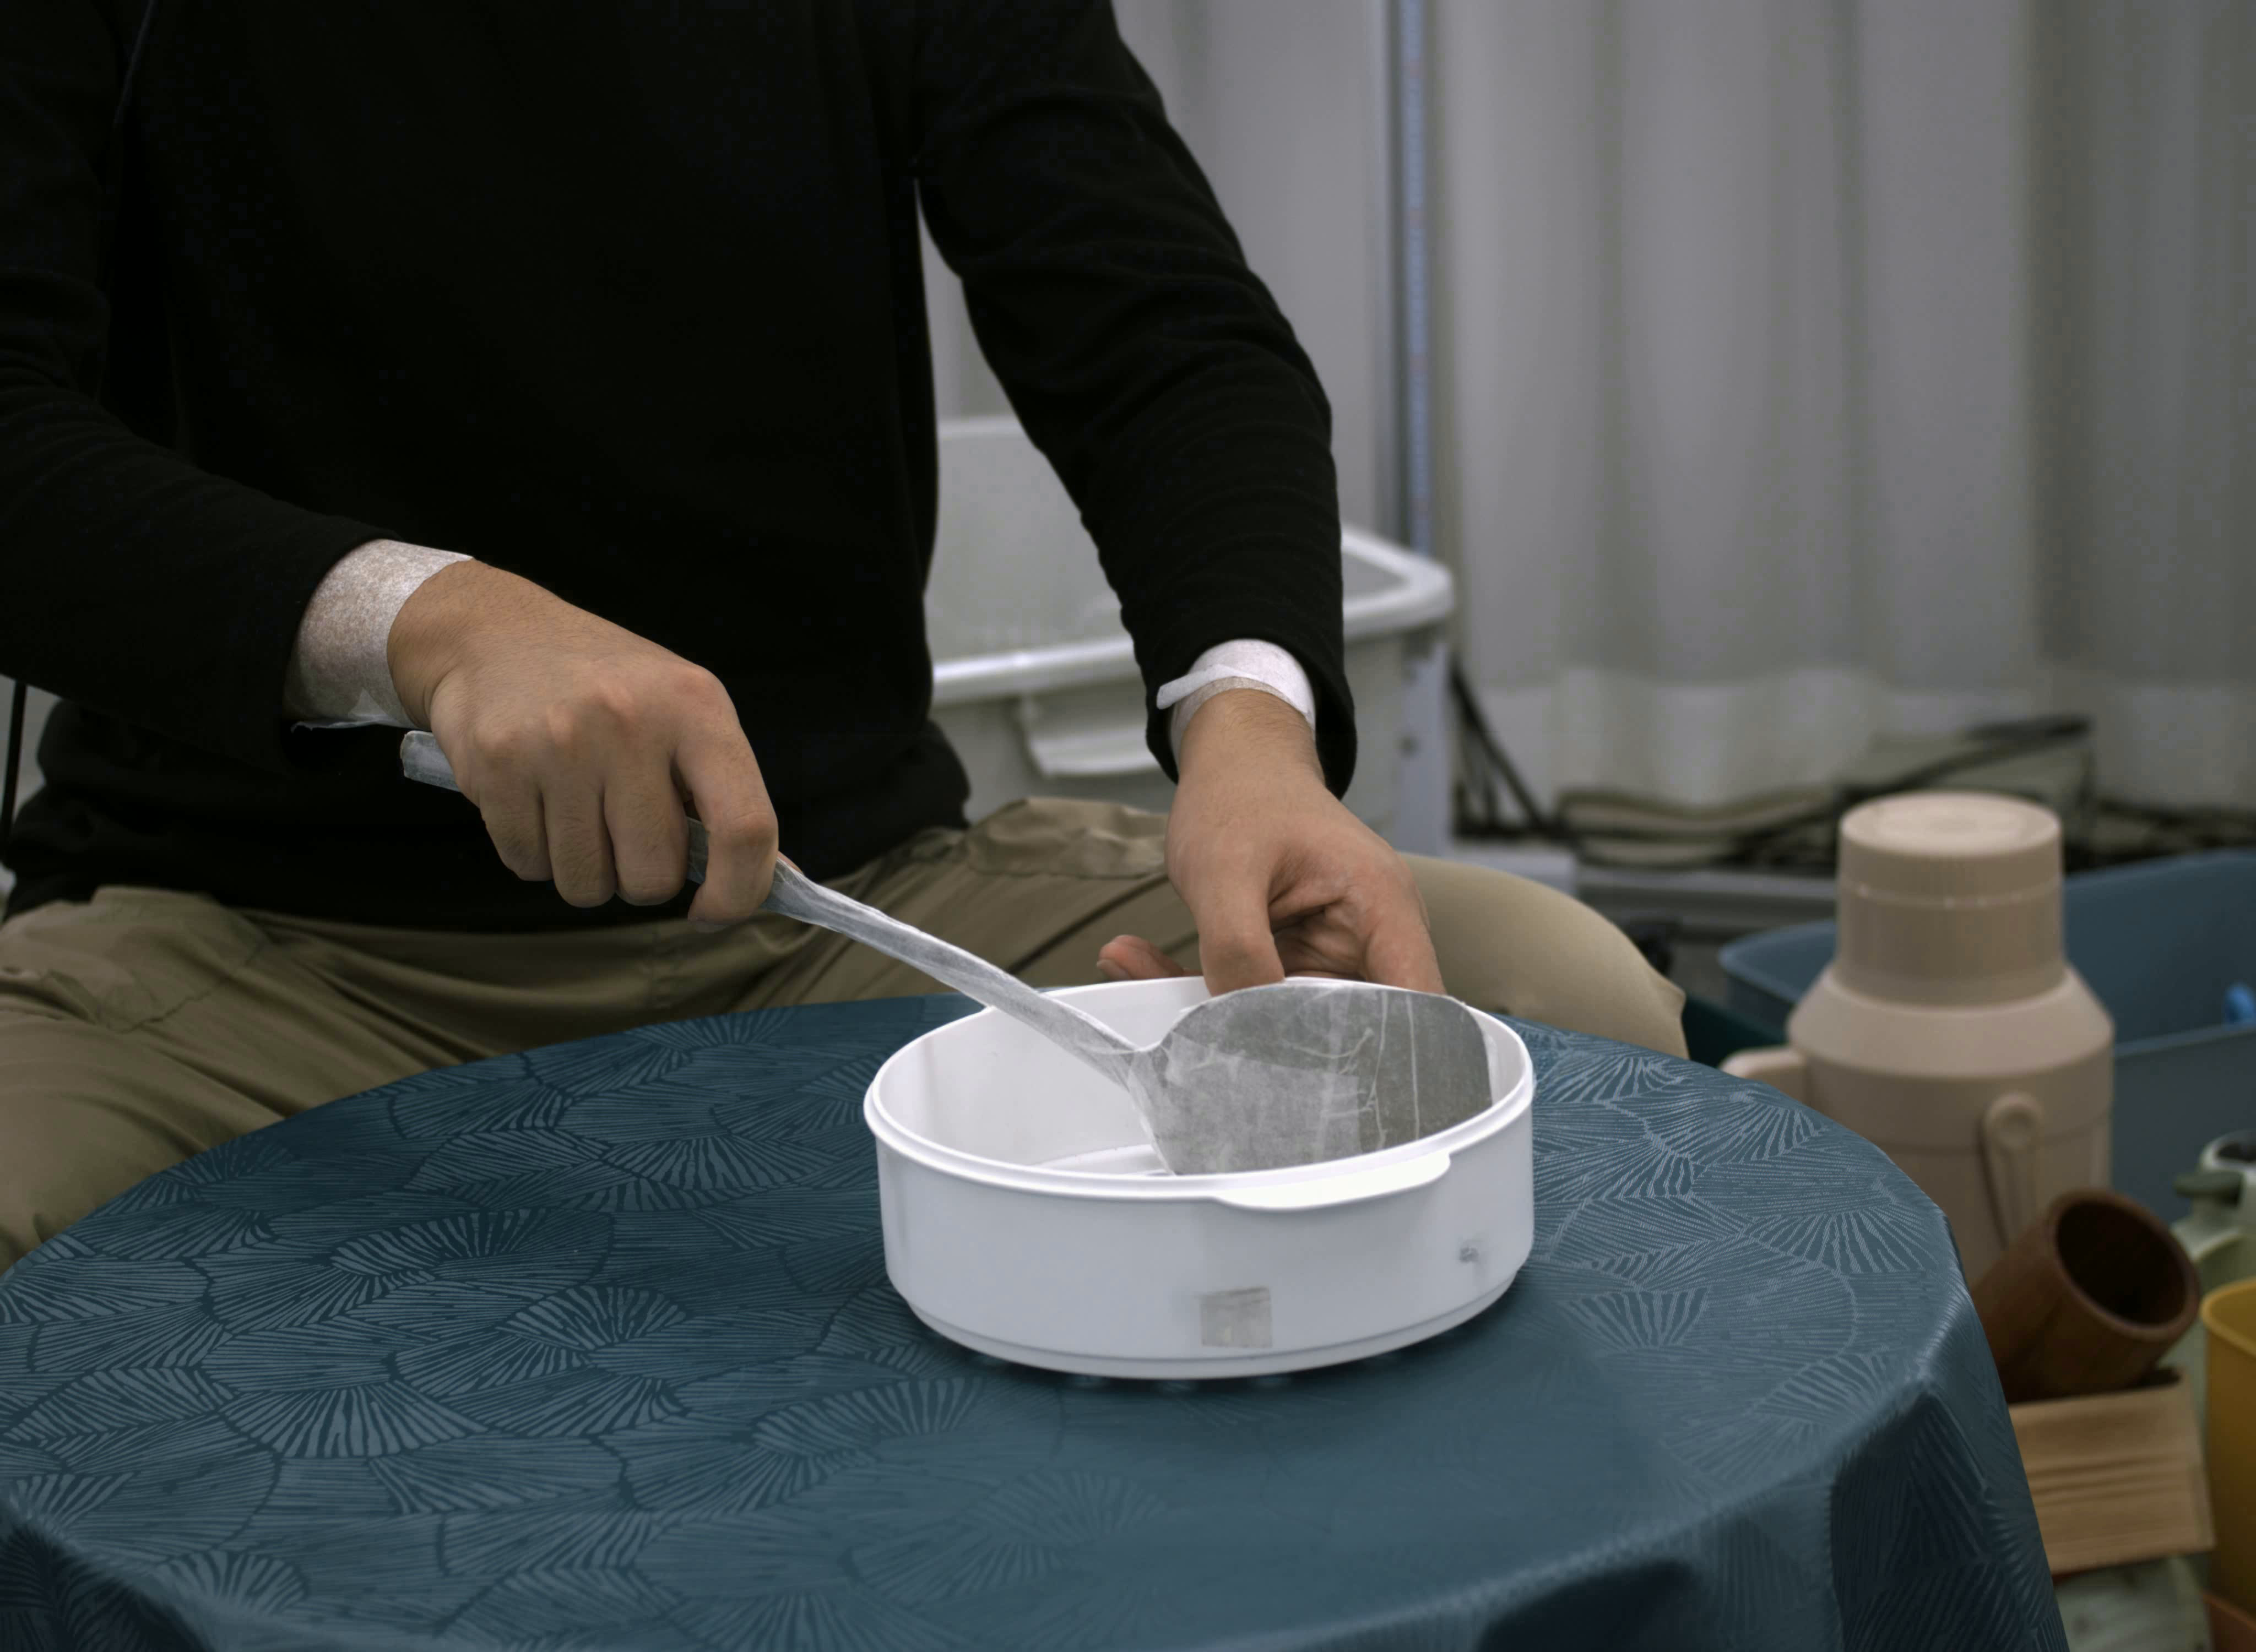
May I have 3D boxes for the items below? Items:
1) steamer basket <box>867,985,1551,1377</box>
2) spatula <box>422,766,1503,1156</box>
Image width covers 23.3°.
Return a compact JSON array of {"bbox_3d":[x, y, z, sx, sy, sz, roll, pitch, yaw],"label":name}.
[{"bbox_3d":[0.025,0.104,1.614,0.201,0.069,0.232,-7,14,-20],"label":"steamer basket"},{"bbox_3d":[-0.056,0.039,1.649,0.367,0.097,0.045,23,39,25],"label":"spatula"}]
